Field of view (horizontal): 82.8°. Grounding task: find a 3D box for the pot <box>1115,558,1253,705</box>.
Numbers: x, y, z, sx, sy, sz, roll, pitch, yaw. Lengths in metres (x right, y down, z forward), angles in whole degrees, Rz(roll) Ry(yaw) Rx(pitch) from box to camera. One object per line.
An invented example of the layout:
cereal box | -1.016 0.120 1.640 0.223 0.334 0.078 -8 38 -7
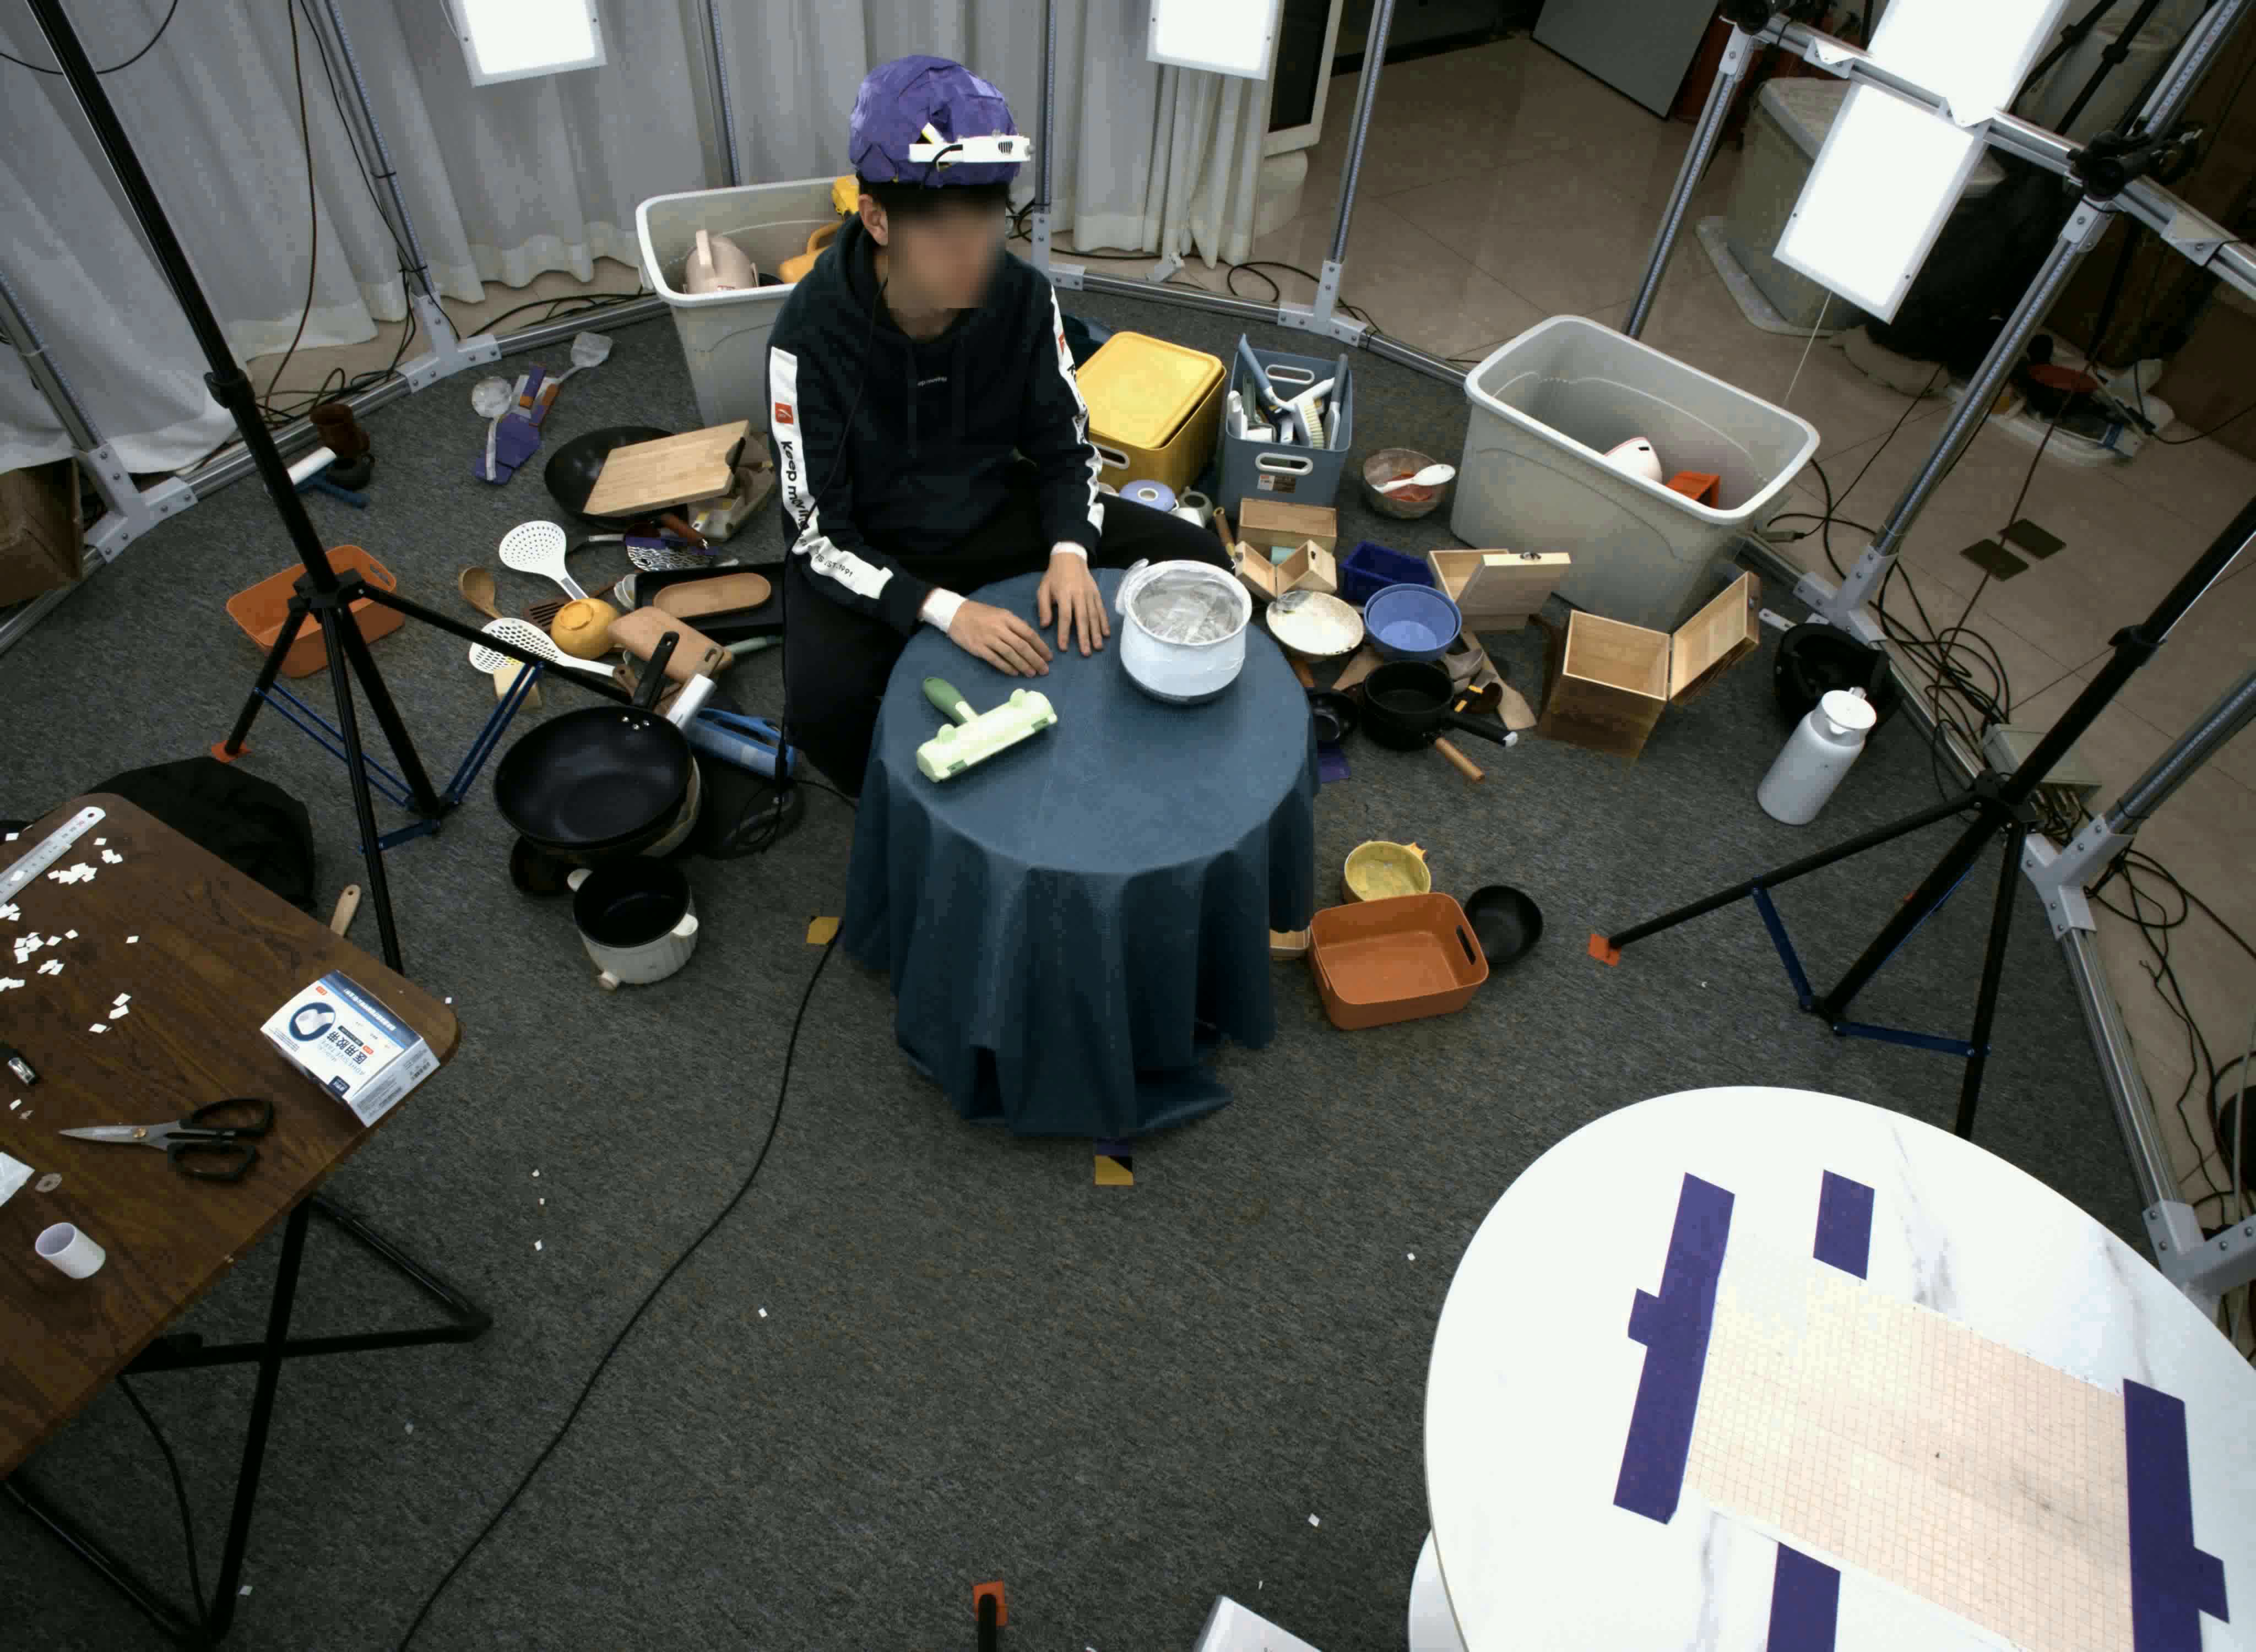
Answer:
pot | 0.063 -0.287 1.833 0.180 0.133 0.238 -29 57 -26

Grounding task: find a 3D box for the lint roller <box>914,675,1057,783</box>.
lint roller | -0.224 -0.163 1.747 0.200 0.080 0.186 -29 62 -25
